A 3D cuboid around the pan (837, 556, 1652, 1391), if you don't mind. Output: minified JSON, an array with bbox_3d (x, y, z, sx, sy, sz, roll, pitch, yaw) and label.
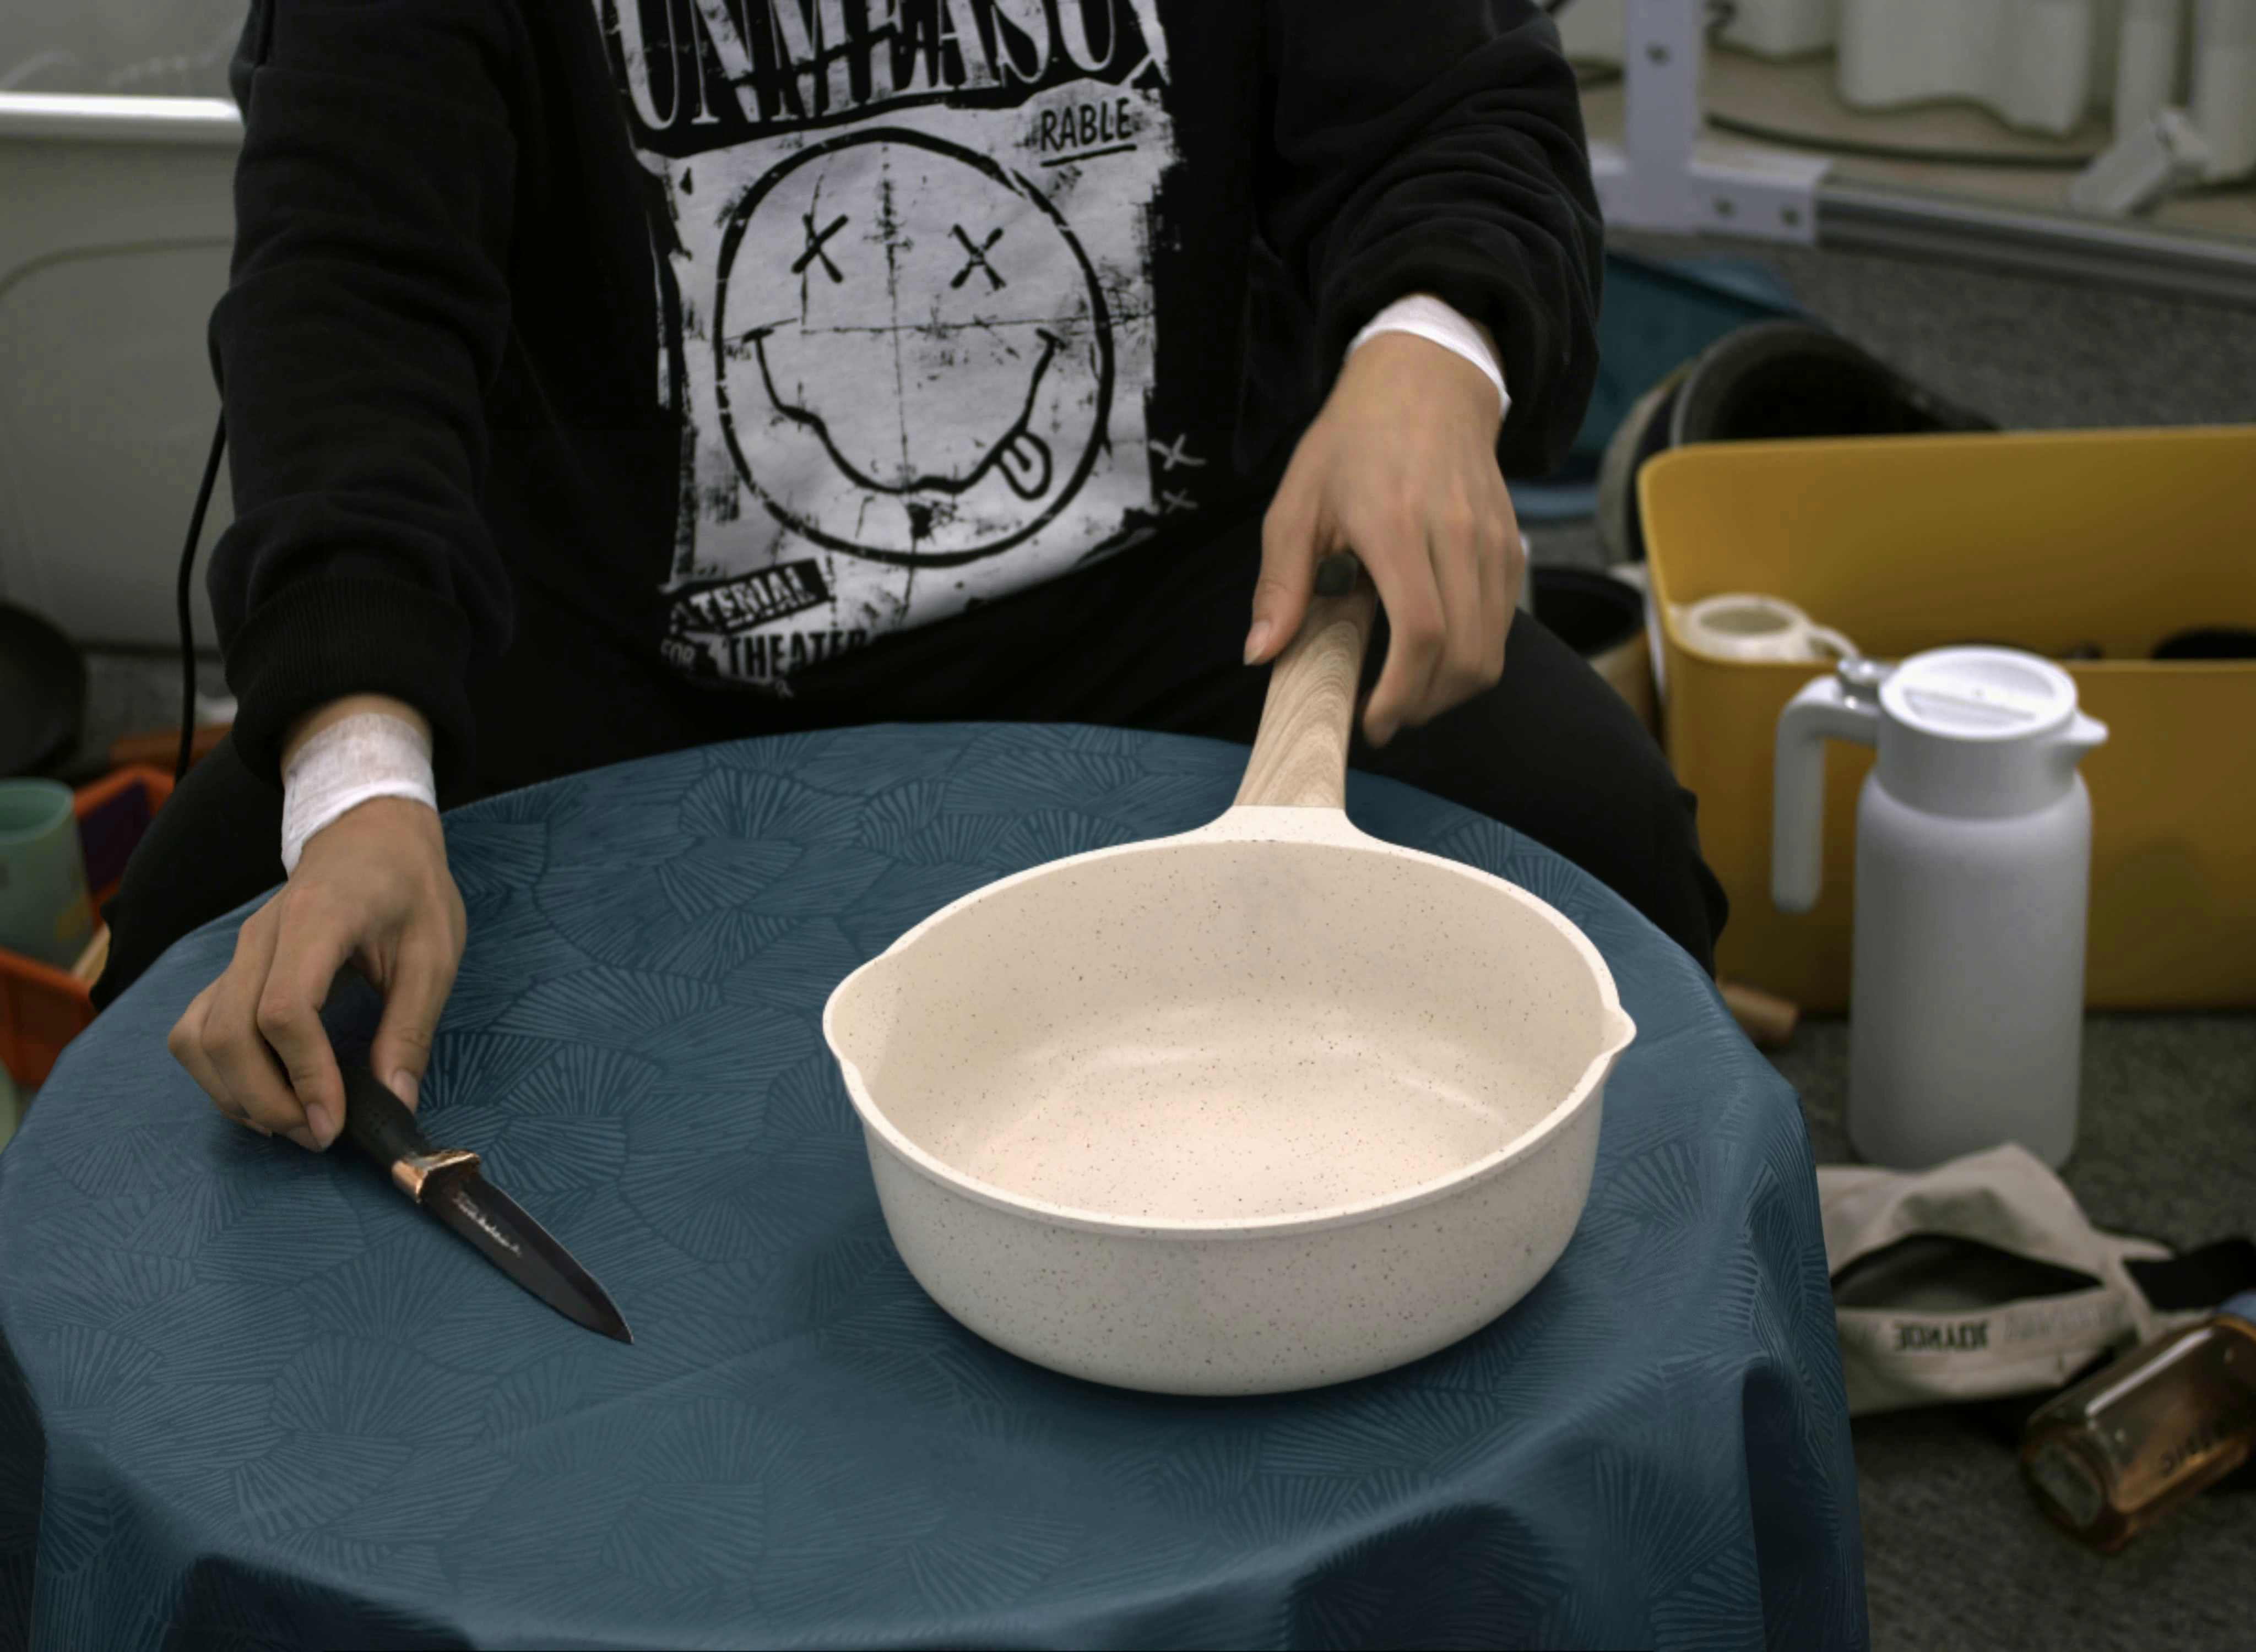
[{"bbox_3d":[0.052,0.046,1.894,0.261,0.101,0.442,0,27,9],"label":"pan"}]

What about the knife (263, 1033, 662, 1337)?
[{"bbox_3d":[-0.223,0.120,1.863,0.026,0.017,0.226,-24,37,-30],"label":"knife"}]
